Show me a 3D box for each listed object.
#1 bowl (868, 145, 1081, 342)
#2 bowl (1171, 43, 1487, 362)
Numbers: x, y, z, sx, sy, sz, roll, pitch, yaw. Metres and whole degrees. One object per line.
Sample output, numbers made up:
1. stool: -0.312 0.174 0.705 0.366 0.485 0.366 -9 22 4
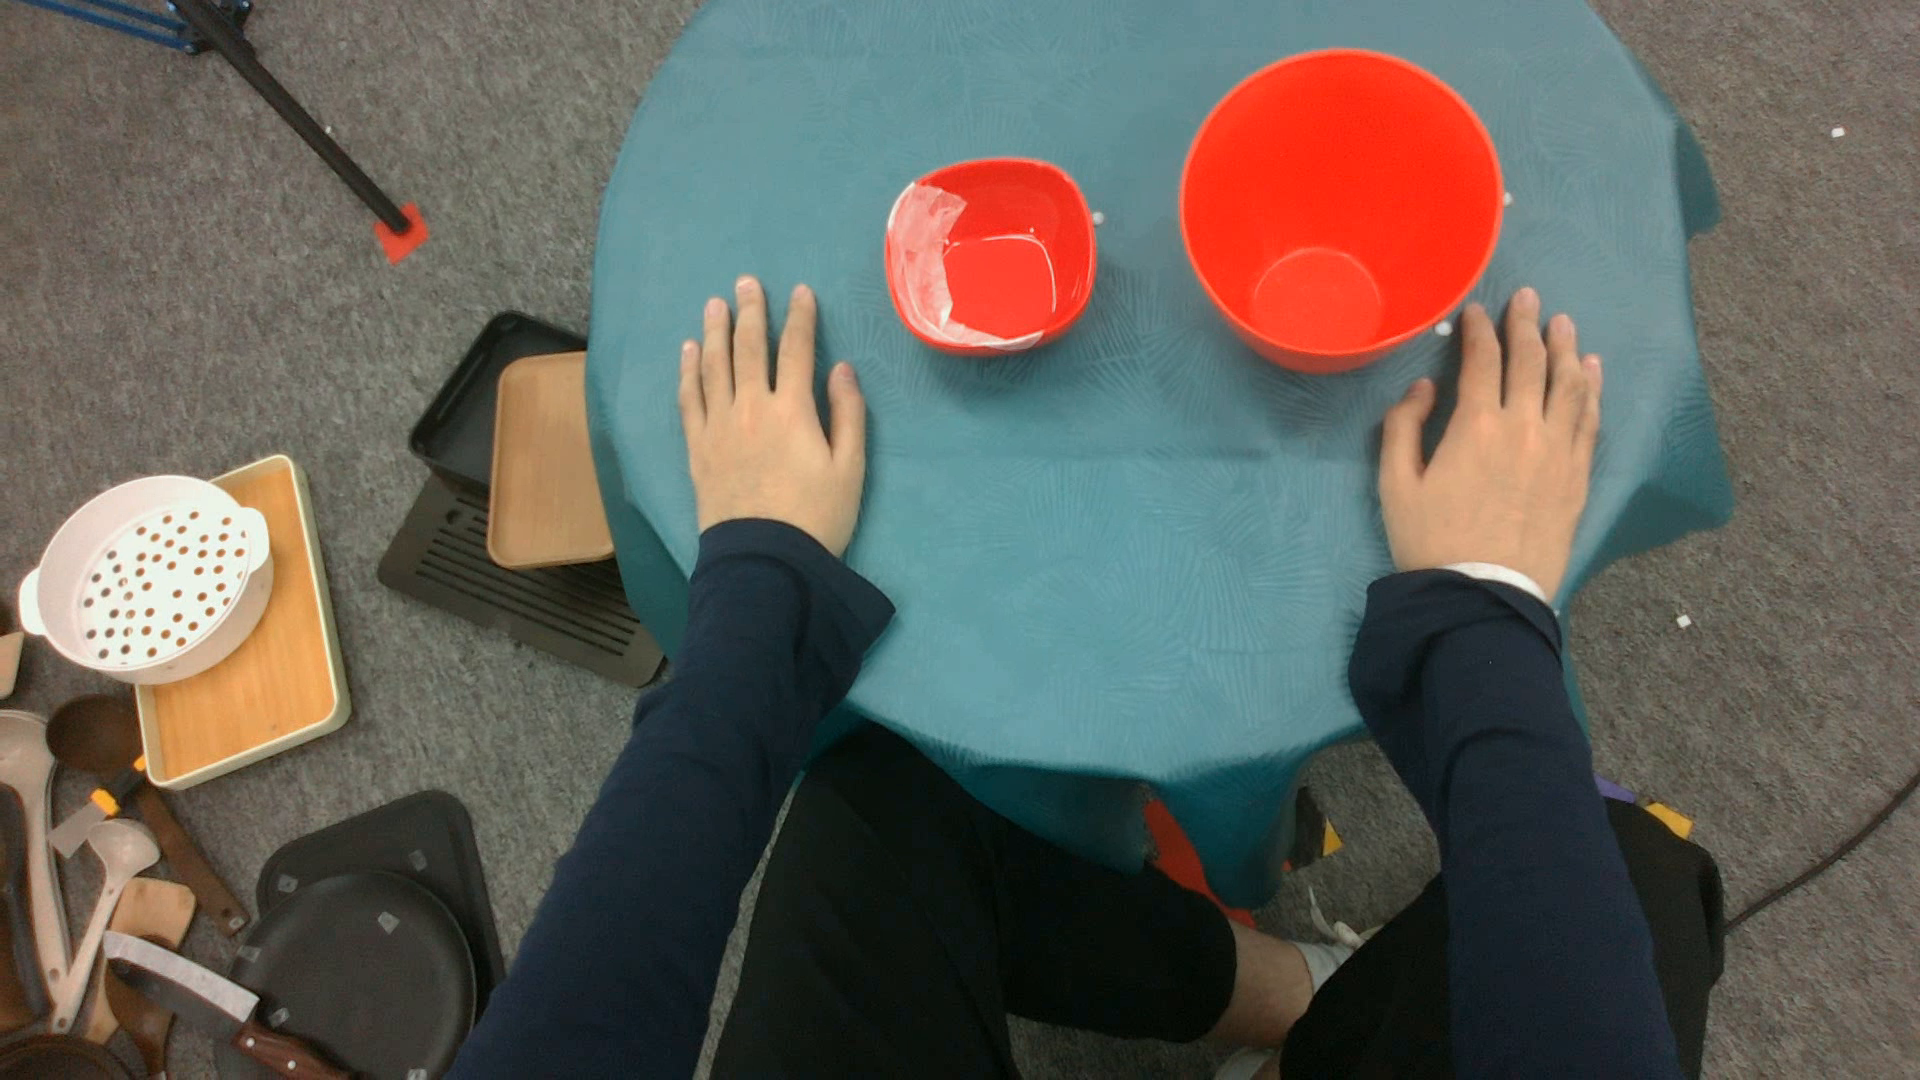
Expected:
1. bowl: 0.009 -0.150 0.735 0.119 0.051 0.119 -1 71 4
2. bowl: 0.178 -0.155 0.692 0.148 0.104 0.148 -2 71 5
